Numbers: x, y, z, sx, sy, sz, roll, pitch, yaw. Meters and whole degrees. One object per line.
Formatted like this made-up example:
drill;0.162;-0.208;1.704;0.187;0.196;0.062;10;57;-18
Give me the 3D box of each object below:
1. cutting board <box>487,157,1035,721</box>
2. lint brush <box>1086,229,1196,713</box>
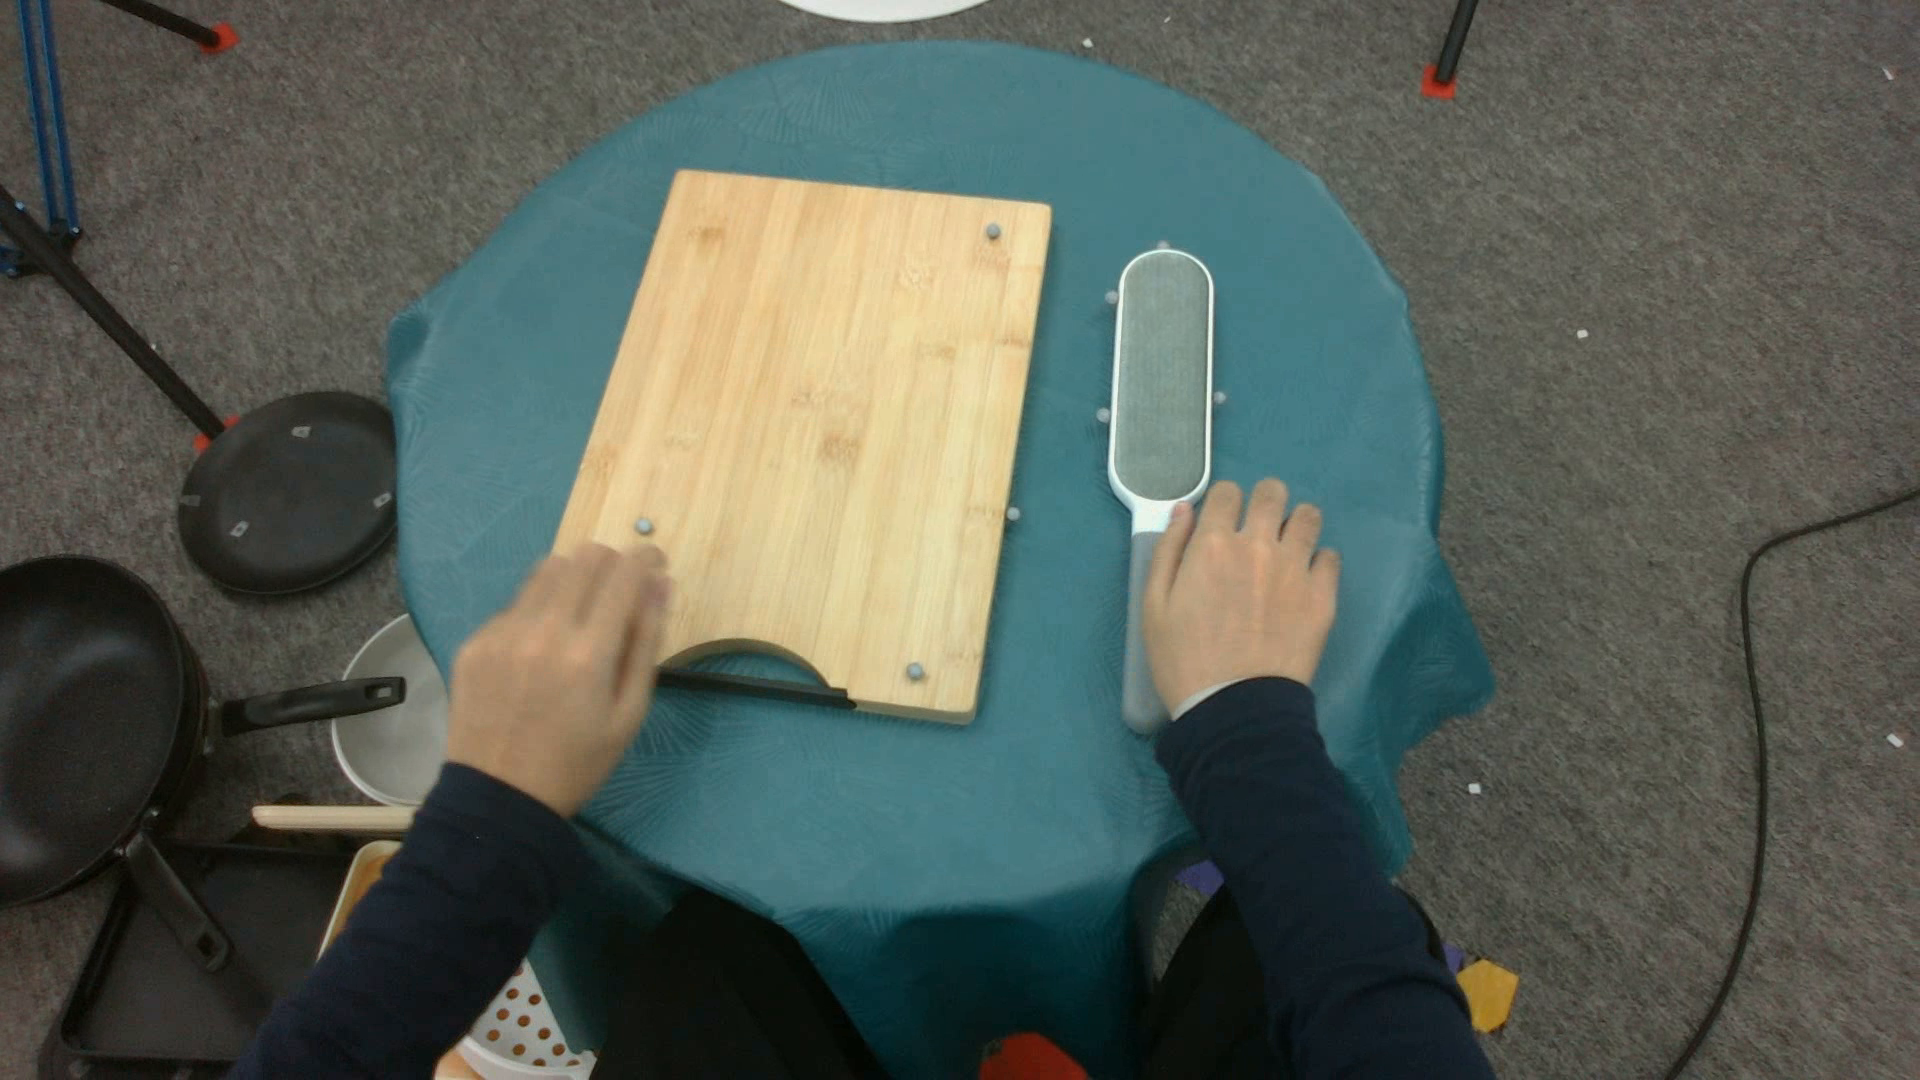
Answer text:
cutting board;-0.099;-0.074;0.787;0.250;0.023;0.350;6;62;5
lint brush;0.099;-0.050;0.763;0.060;0.021;0.310;7;62;-1
